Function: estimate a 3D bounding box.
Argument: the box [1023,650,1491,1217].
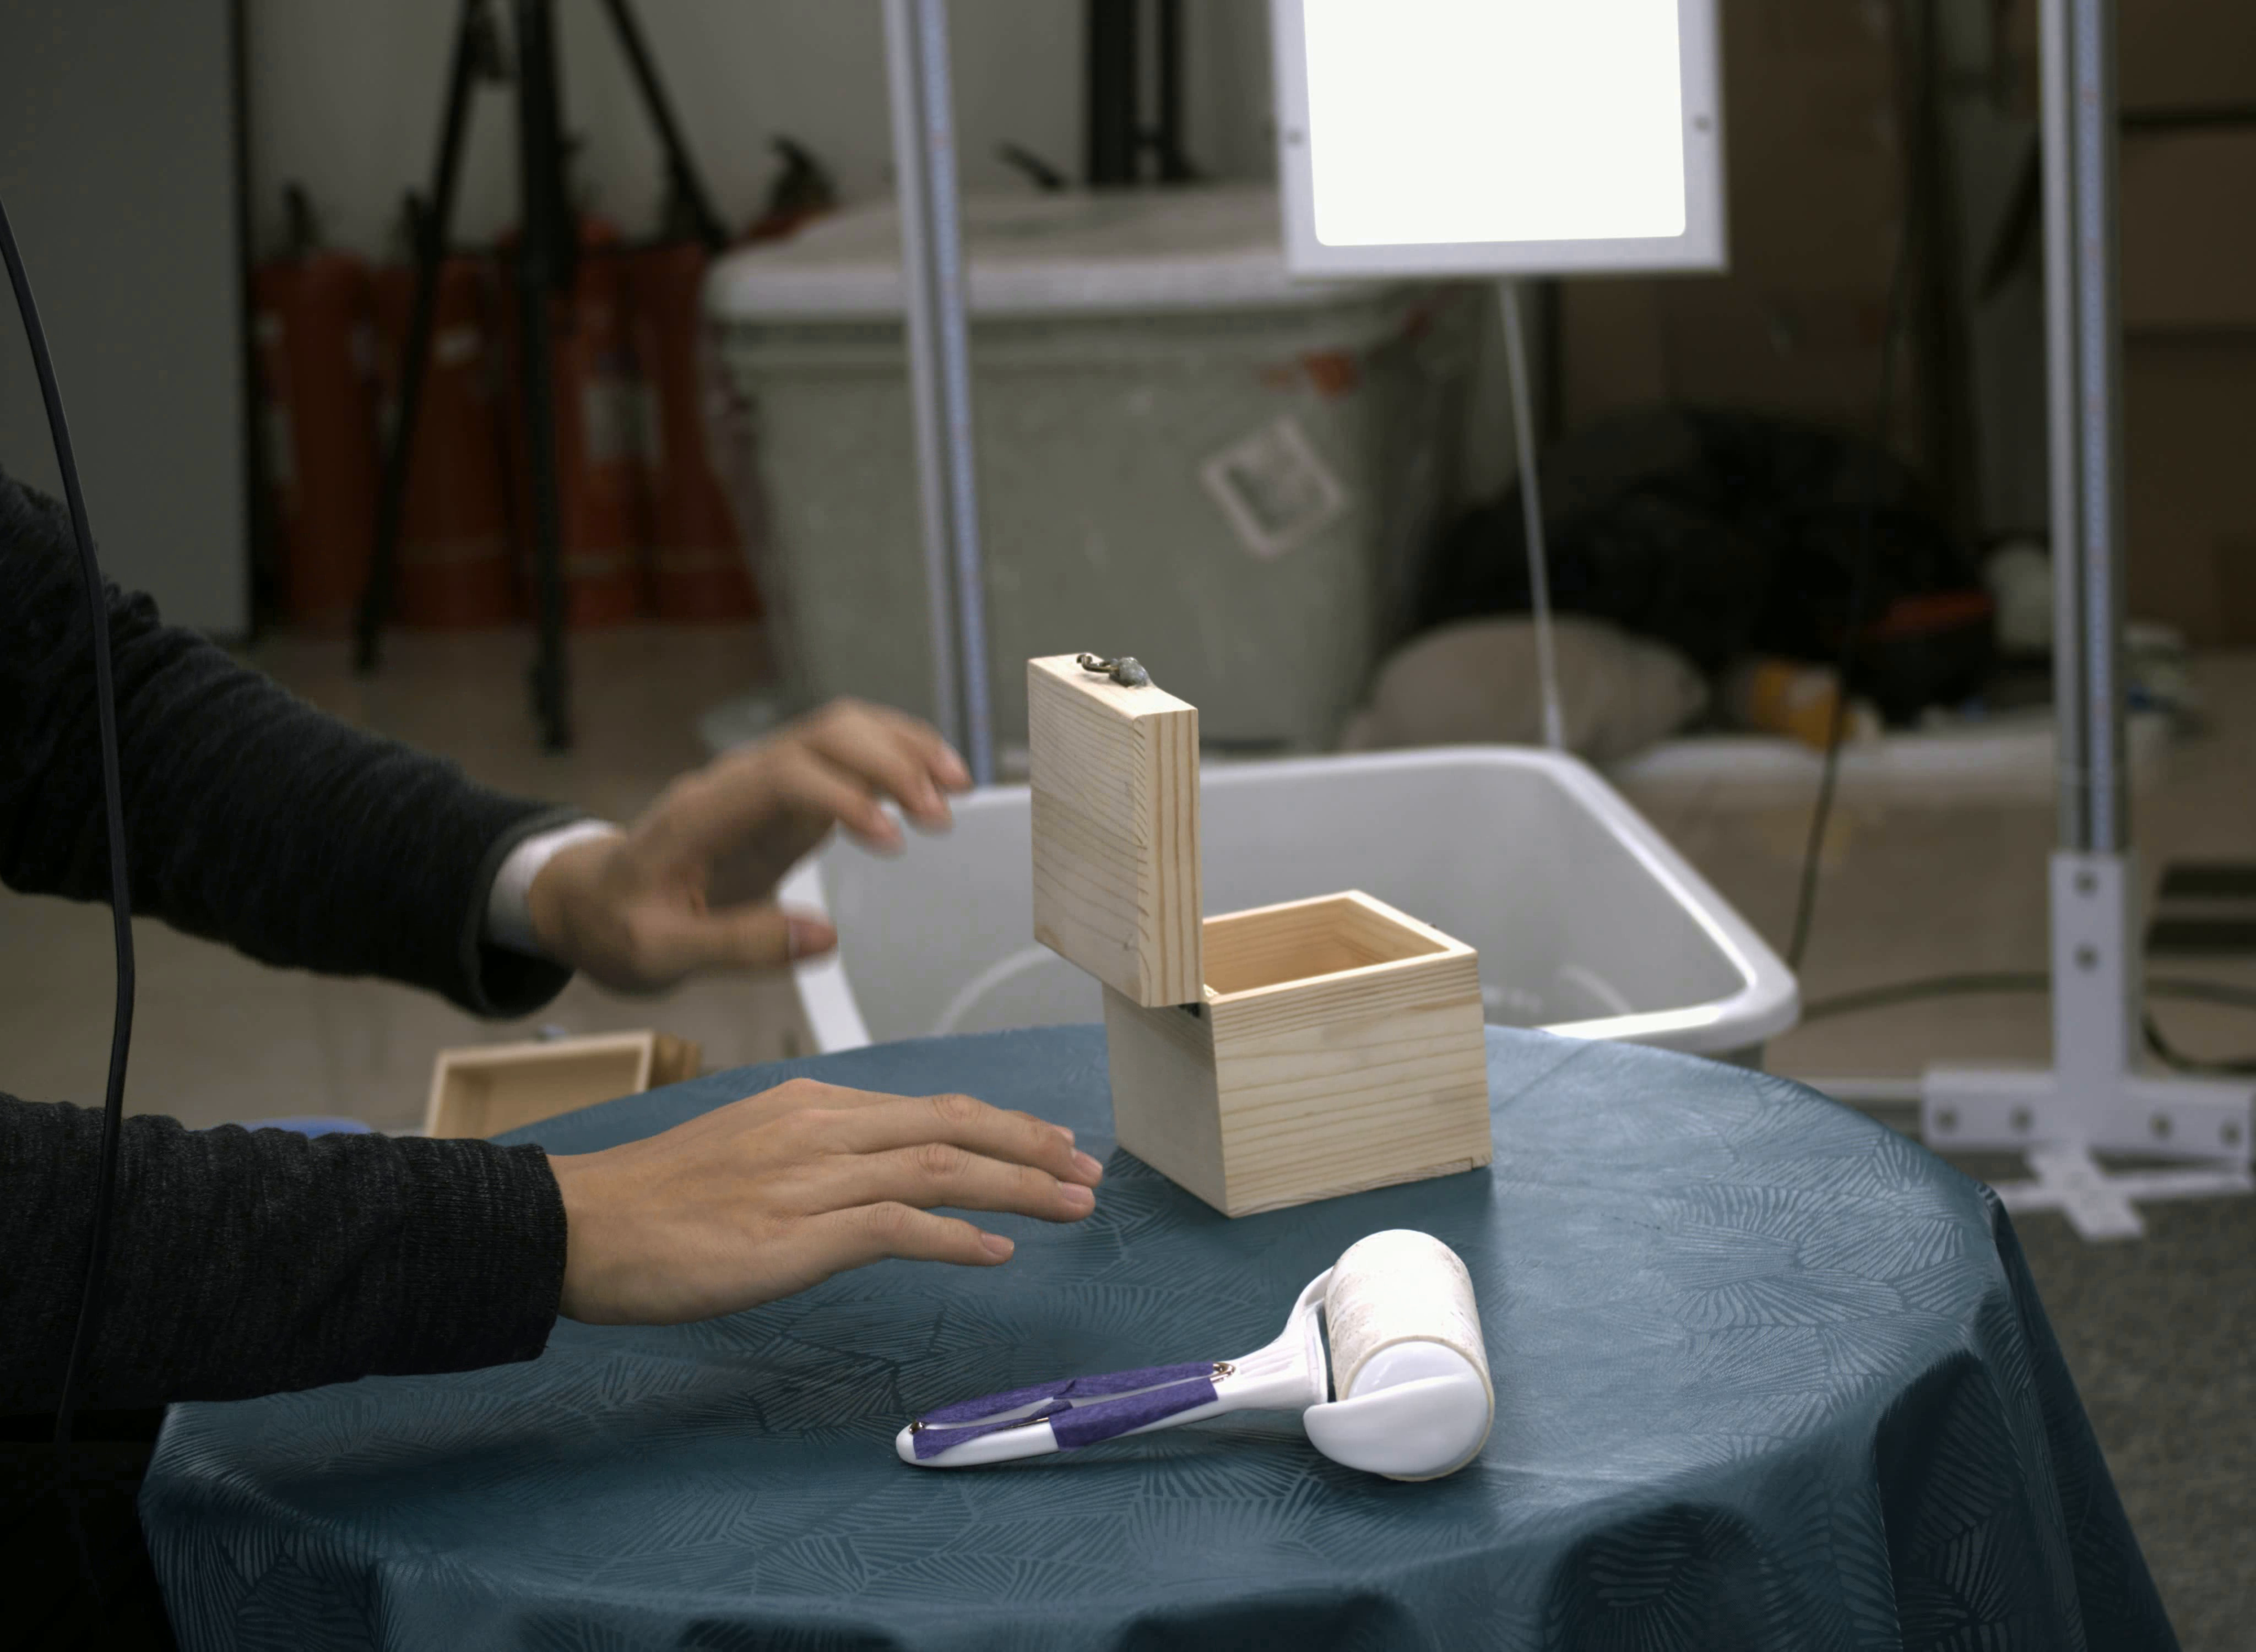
[{"bbox_3d":[0.046,0.028,1.896,0.131,0.185,0.104,-10,15,-19],"label":"box"}]

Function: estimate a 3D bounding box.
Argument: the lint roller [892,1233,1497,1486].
[{"bbox_3d":[0.019,0.161,1.650,0.181,0.050,0.132,-2,15,4],"label":"lint roller"}]
